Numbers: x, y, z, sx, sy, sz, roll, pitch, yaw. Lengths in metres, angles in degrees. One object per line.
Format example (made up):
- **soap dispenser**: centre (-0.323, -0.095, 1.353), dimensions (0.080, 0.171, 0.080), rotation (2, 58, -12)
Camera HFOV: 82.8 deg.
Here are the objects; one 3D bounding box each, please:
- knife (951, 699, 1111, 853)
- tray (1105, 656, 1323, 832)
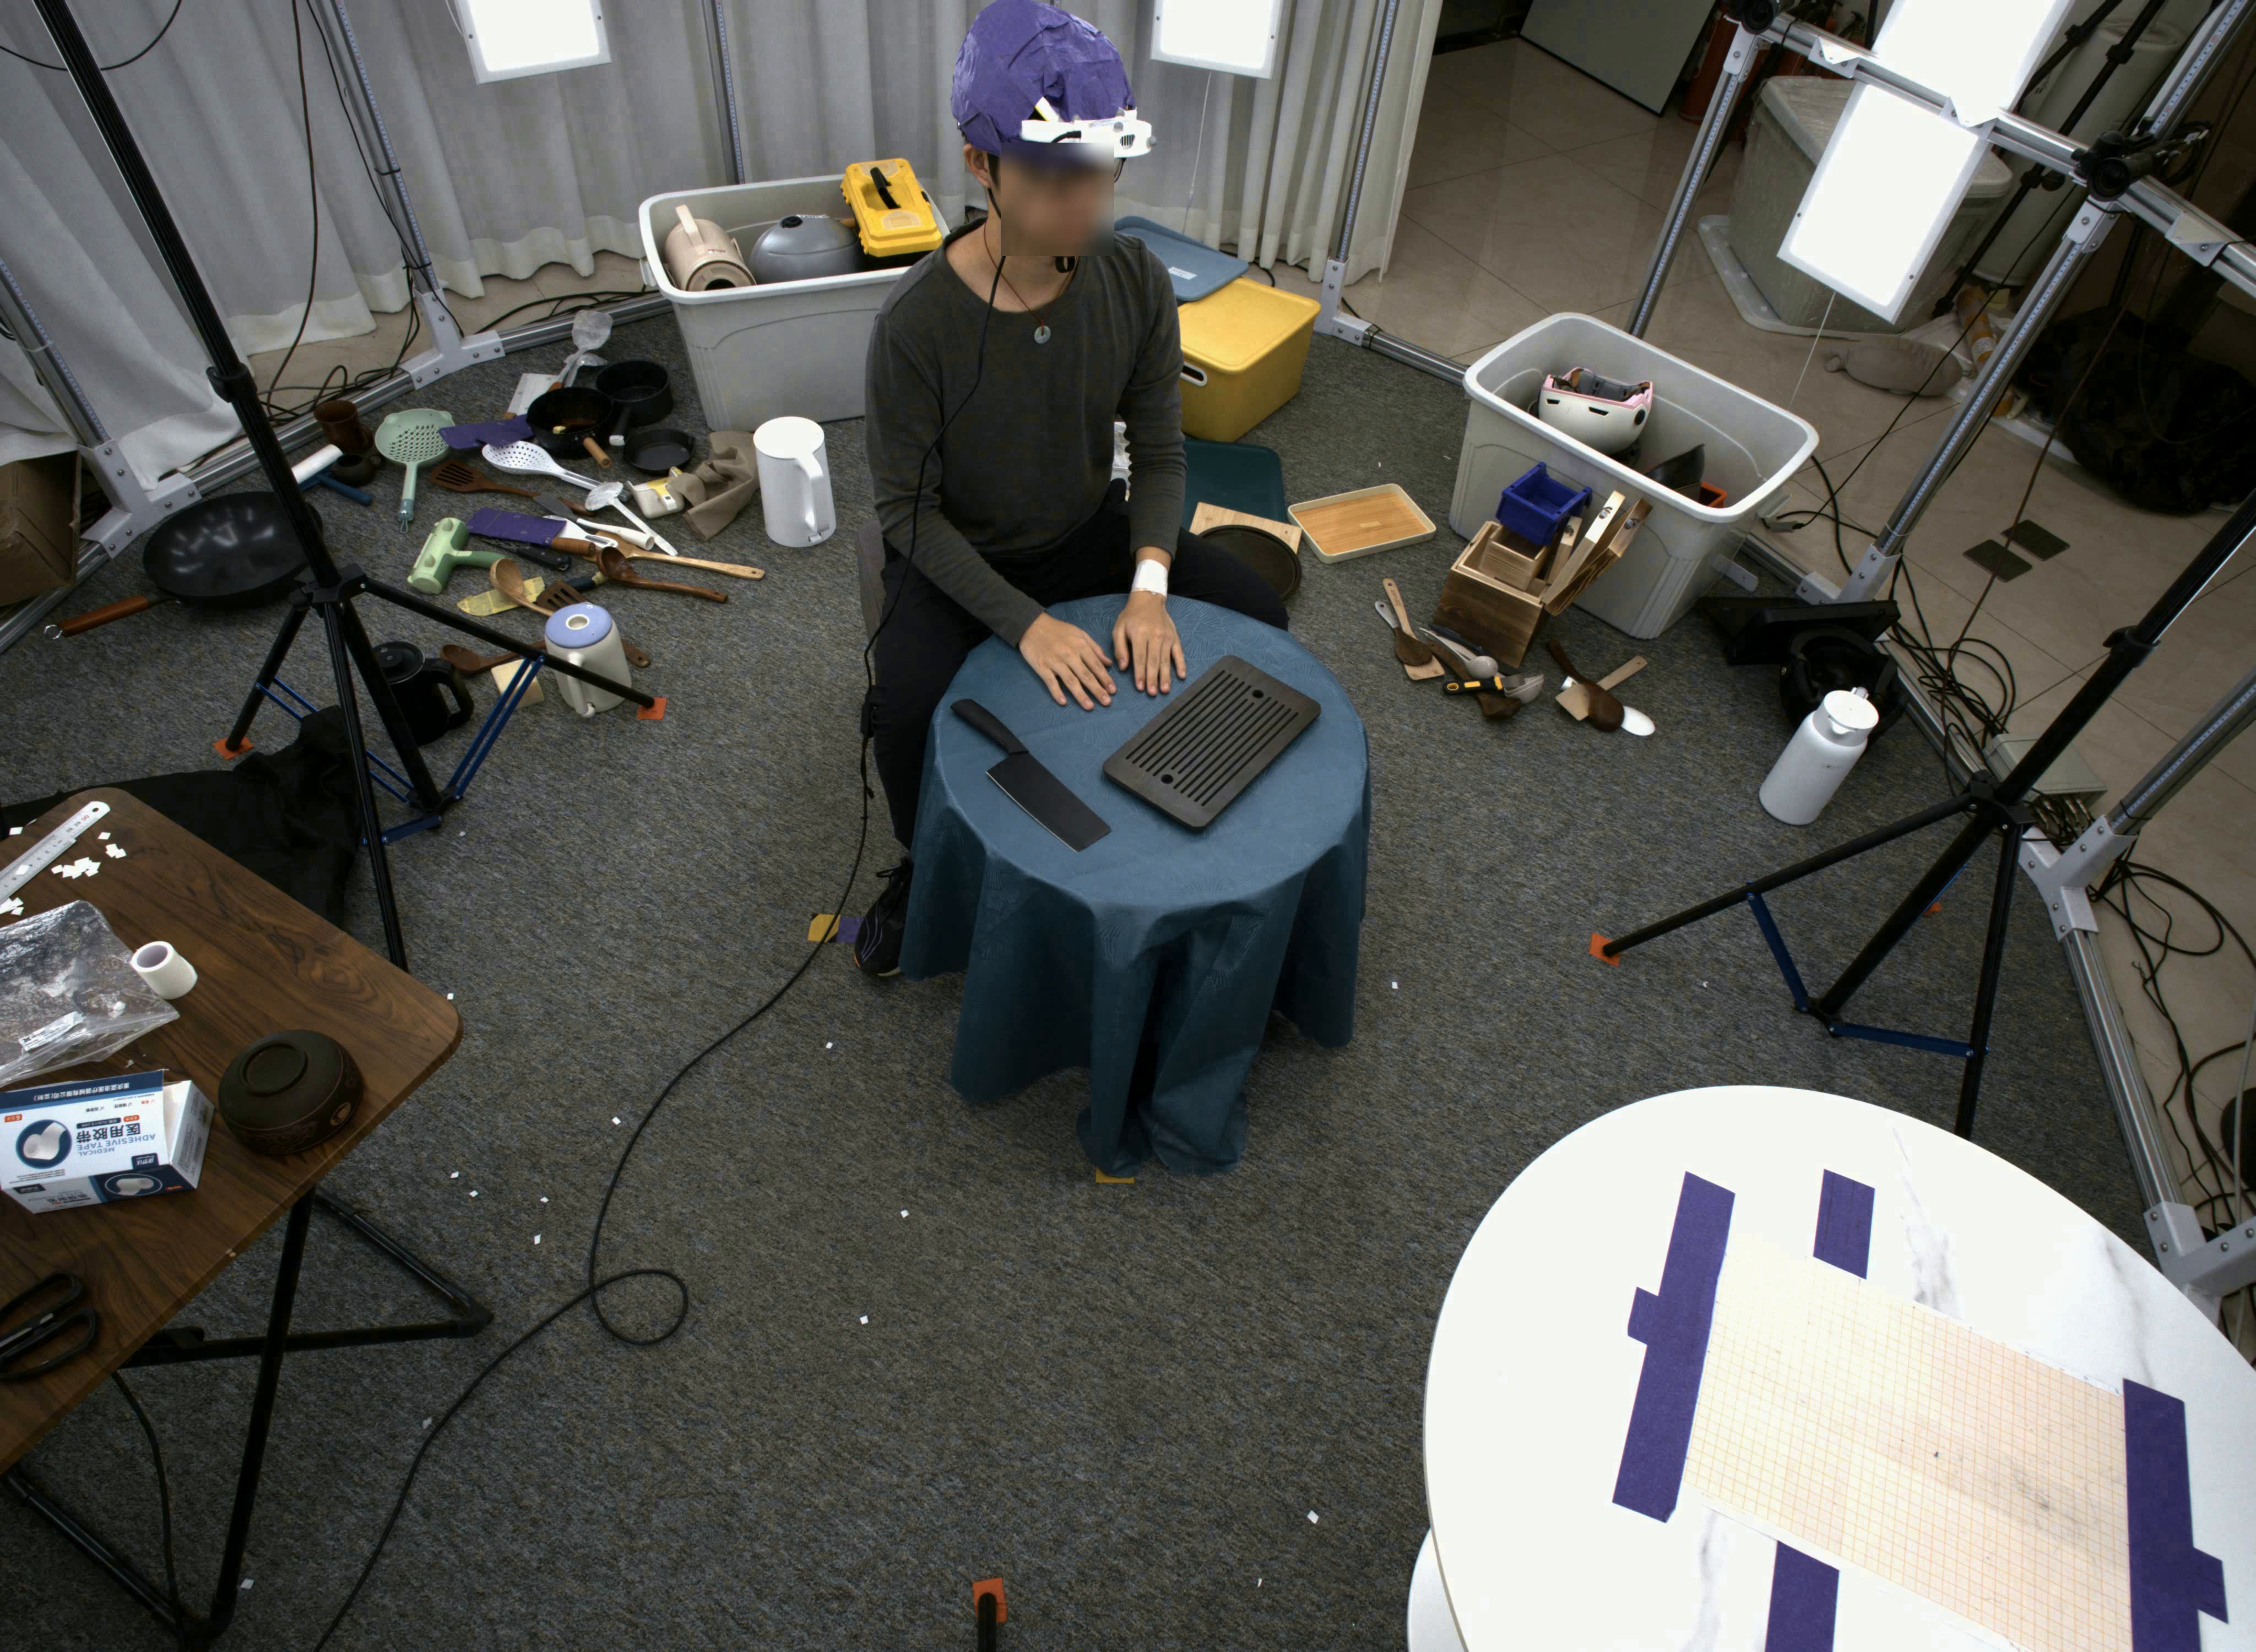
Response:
- **knife**: centre (-0.142, -0.073, 1.712), dimensions (0.081, 0.020, 0.308), rotation (-30, 59, -24)
- **tray**: centre (0.122, -0.118, 1.766), dimensions (0.172, 0.018, 0.309), rotation (32, 54, 23)
